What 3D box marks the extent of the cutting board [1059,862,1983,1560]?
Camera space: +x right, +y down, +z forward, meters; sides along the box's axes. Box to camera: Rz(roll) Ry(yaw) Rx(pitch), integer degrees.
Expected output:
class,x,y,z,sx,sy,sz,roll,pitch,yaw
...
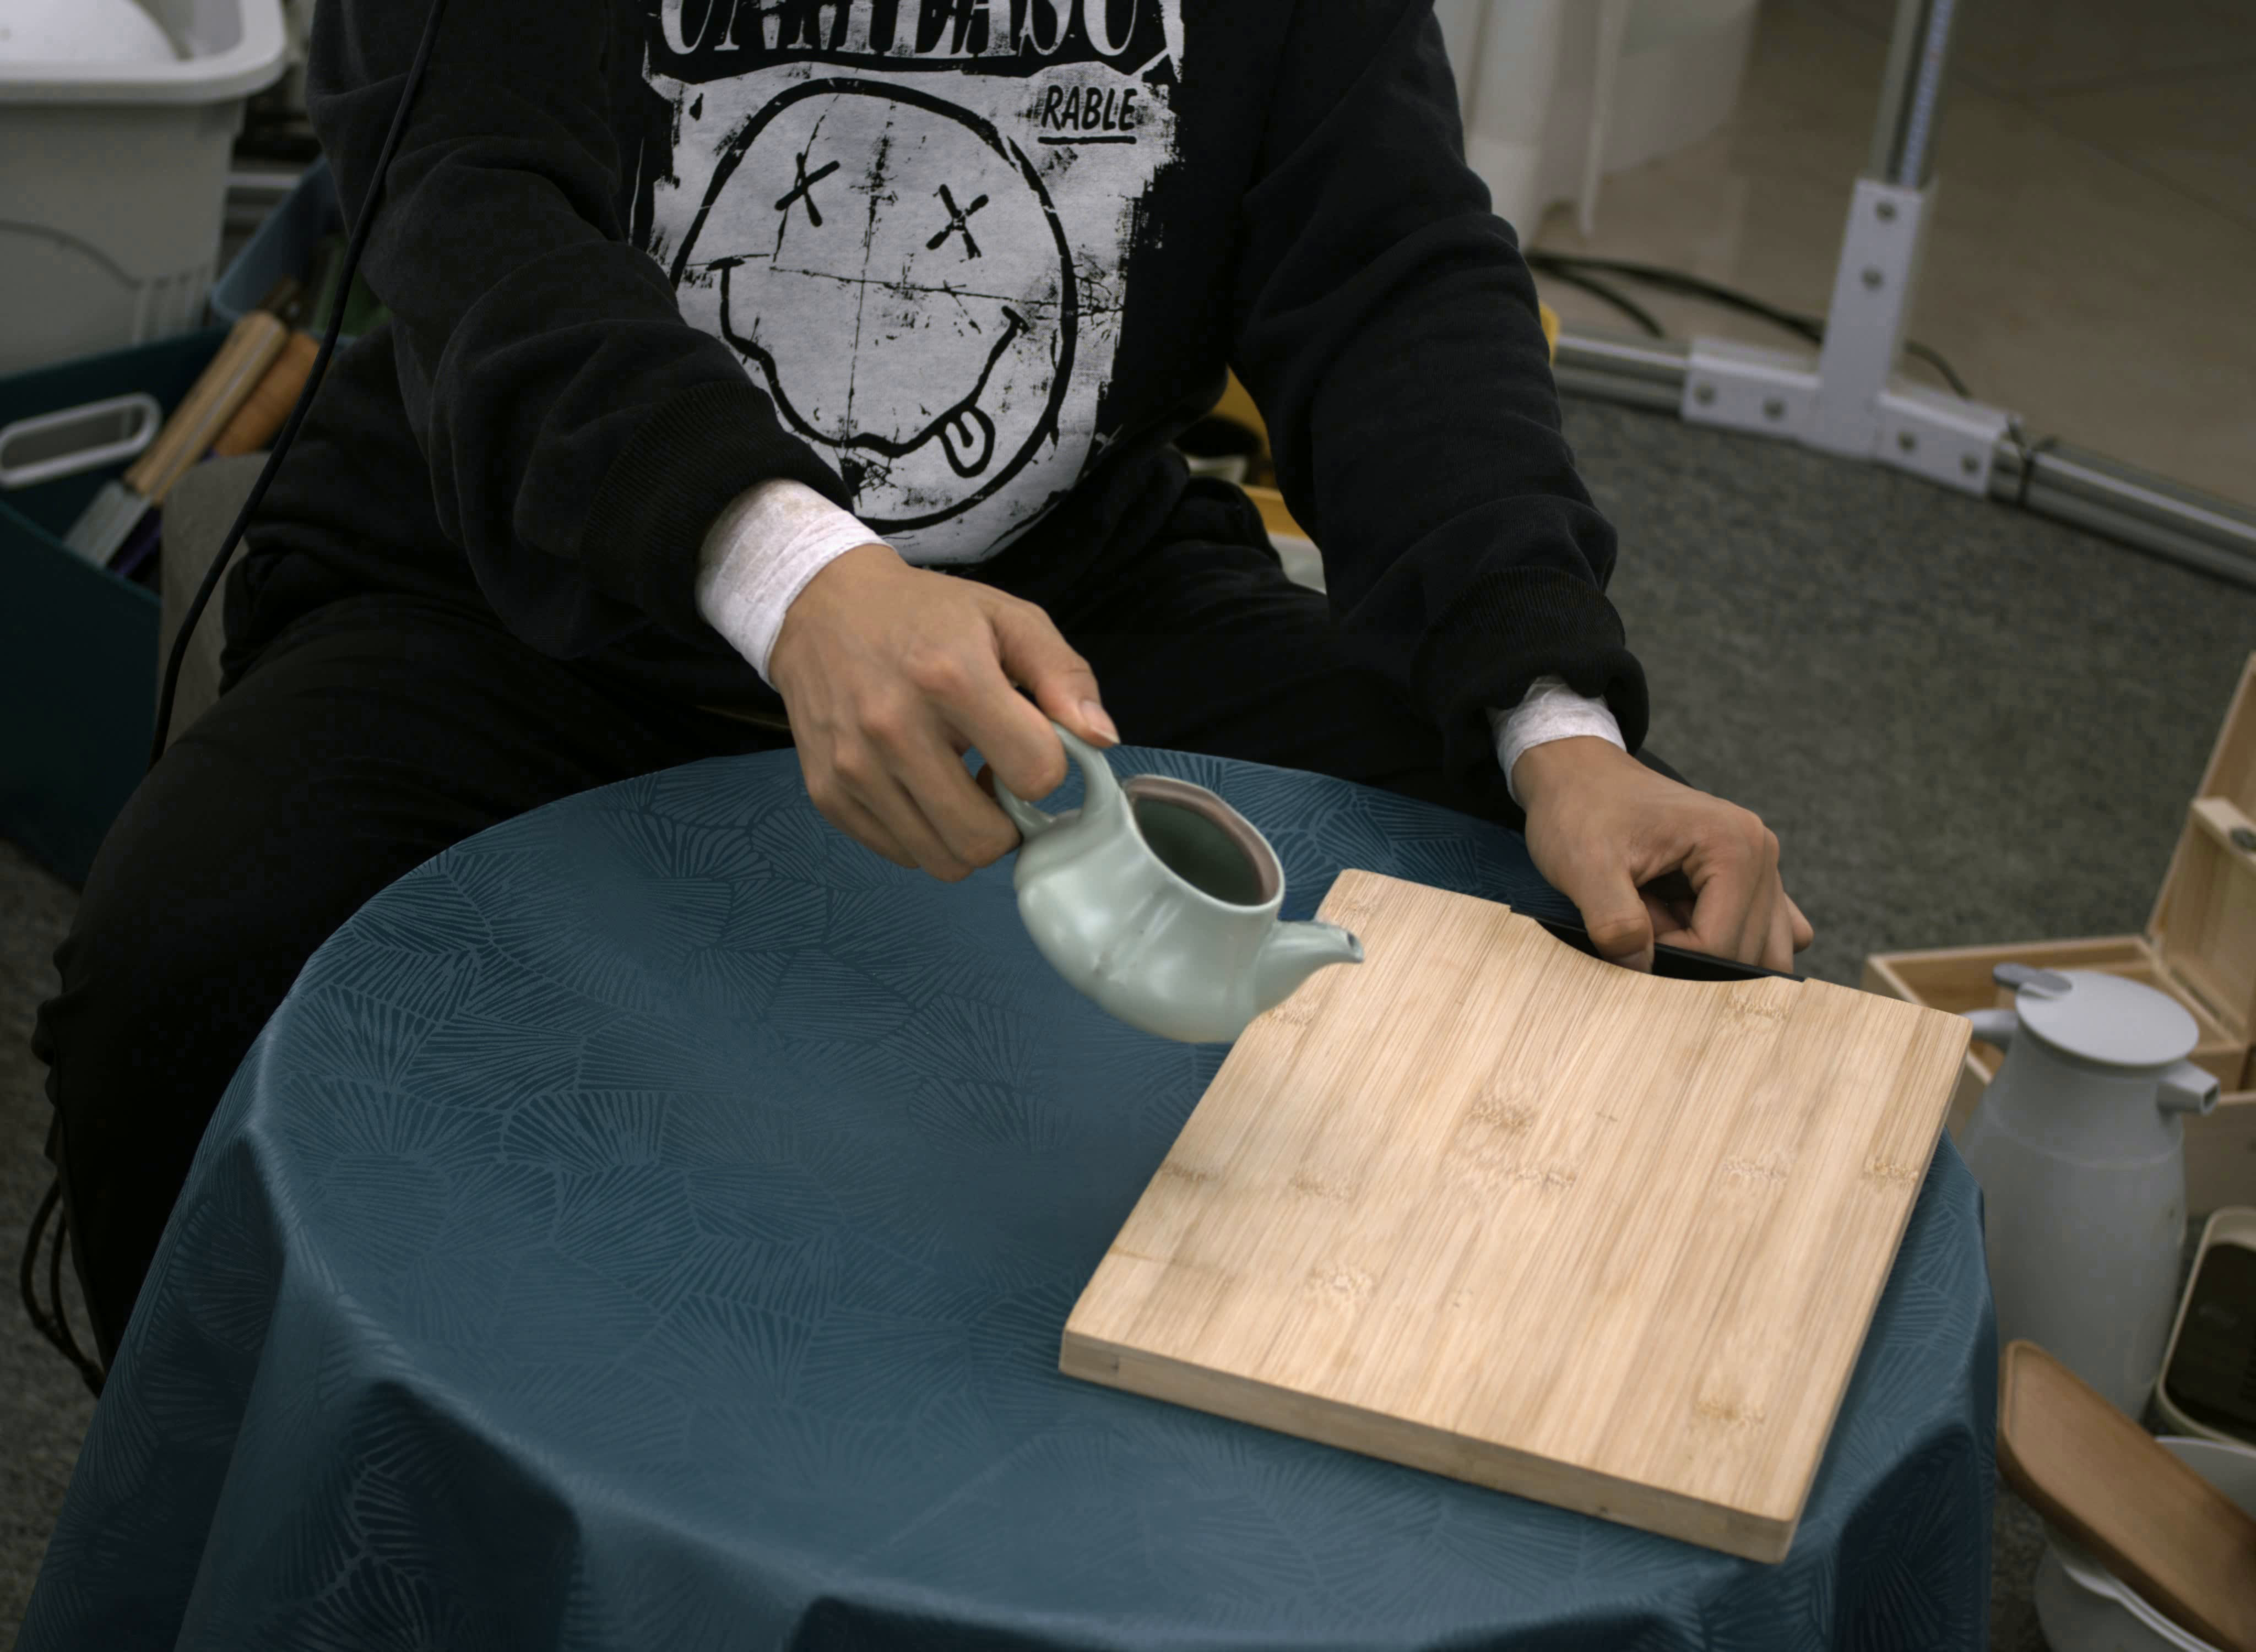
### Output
class,x,y,z,sx,sy,sz,roll,pitch,yaw
cutting board,0.143,0.121,1.817,0.251,0.023,0.349,13,29,12

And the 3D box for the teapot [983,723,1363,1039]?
class,x,y,z,sx,sy,sz,roll,pitch,yaw
teapot,0.006,0.020,1.745,0.136,0.061,0.096,35,30,-4
